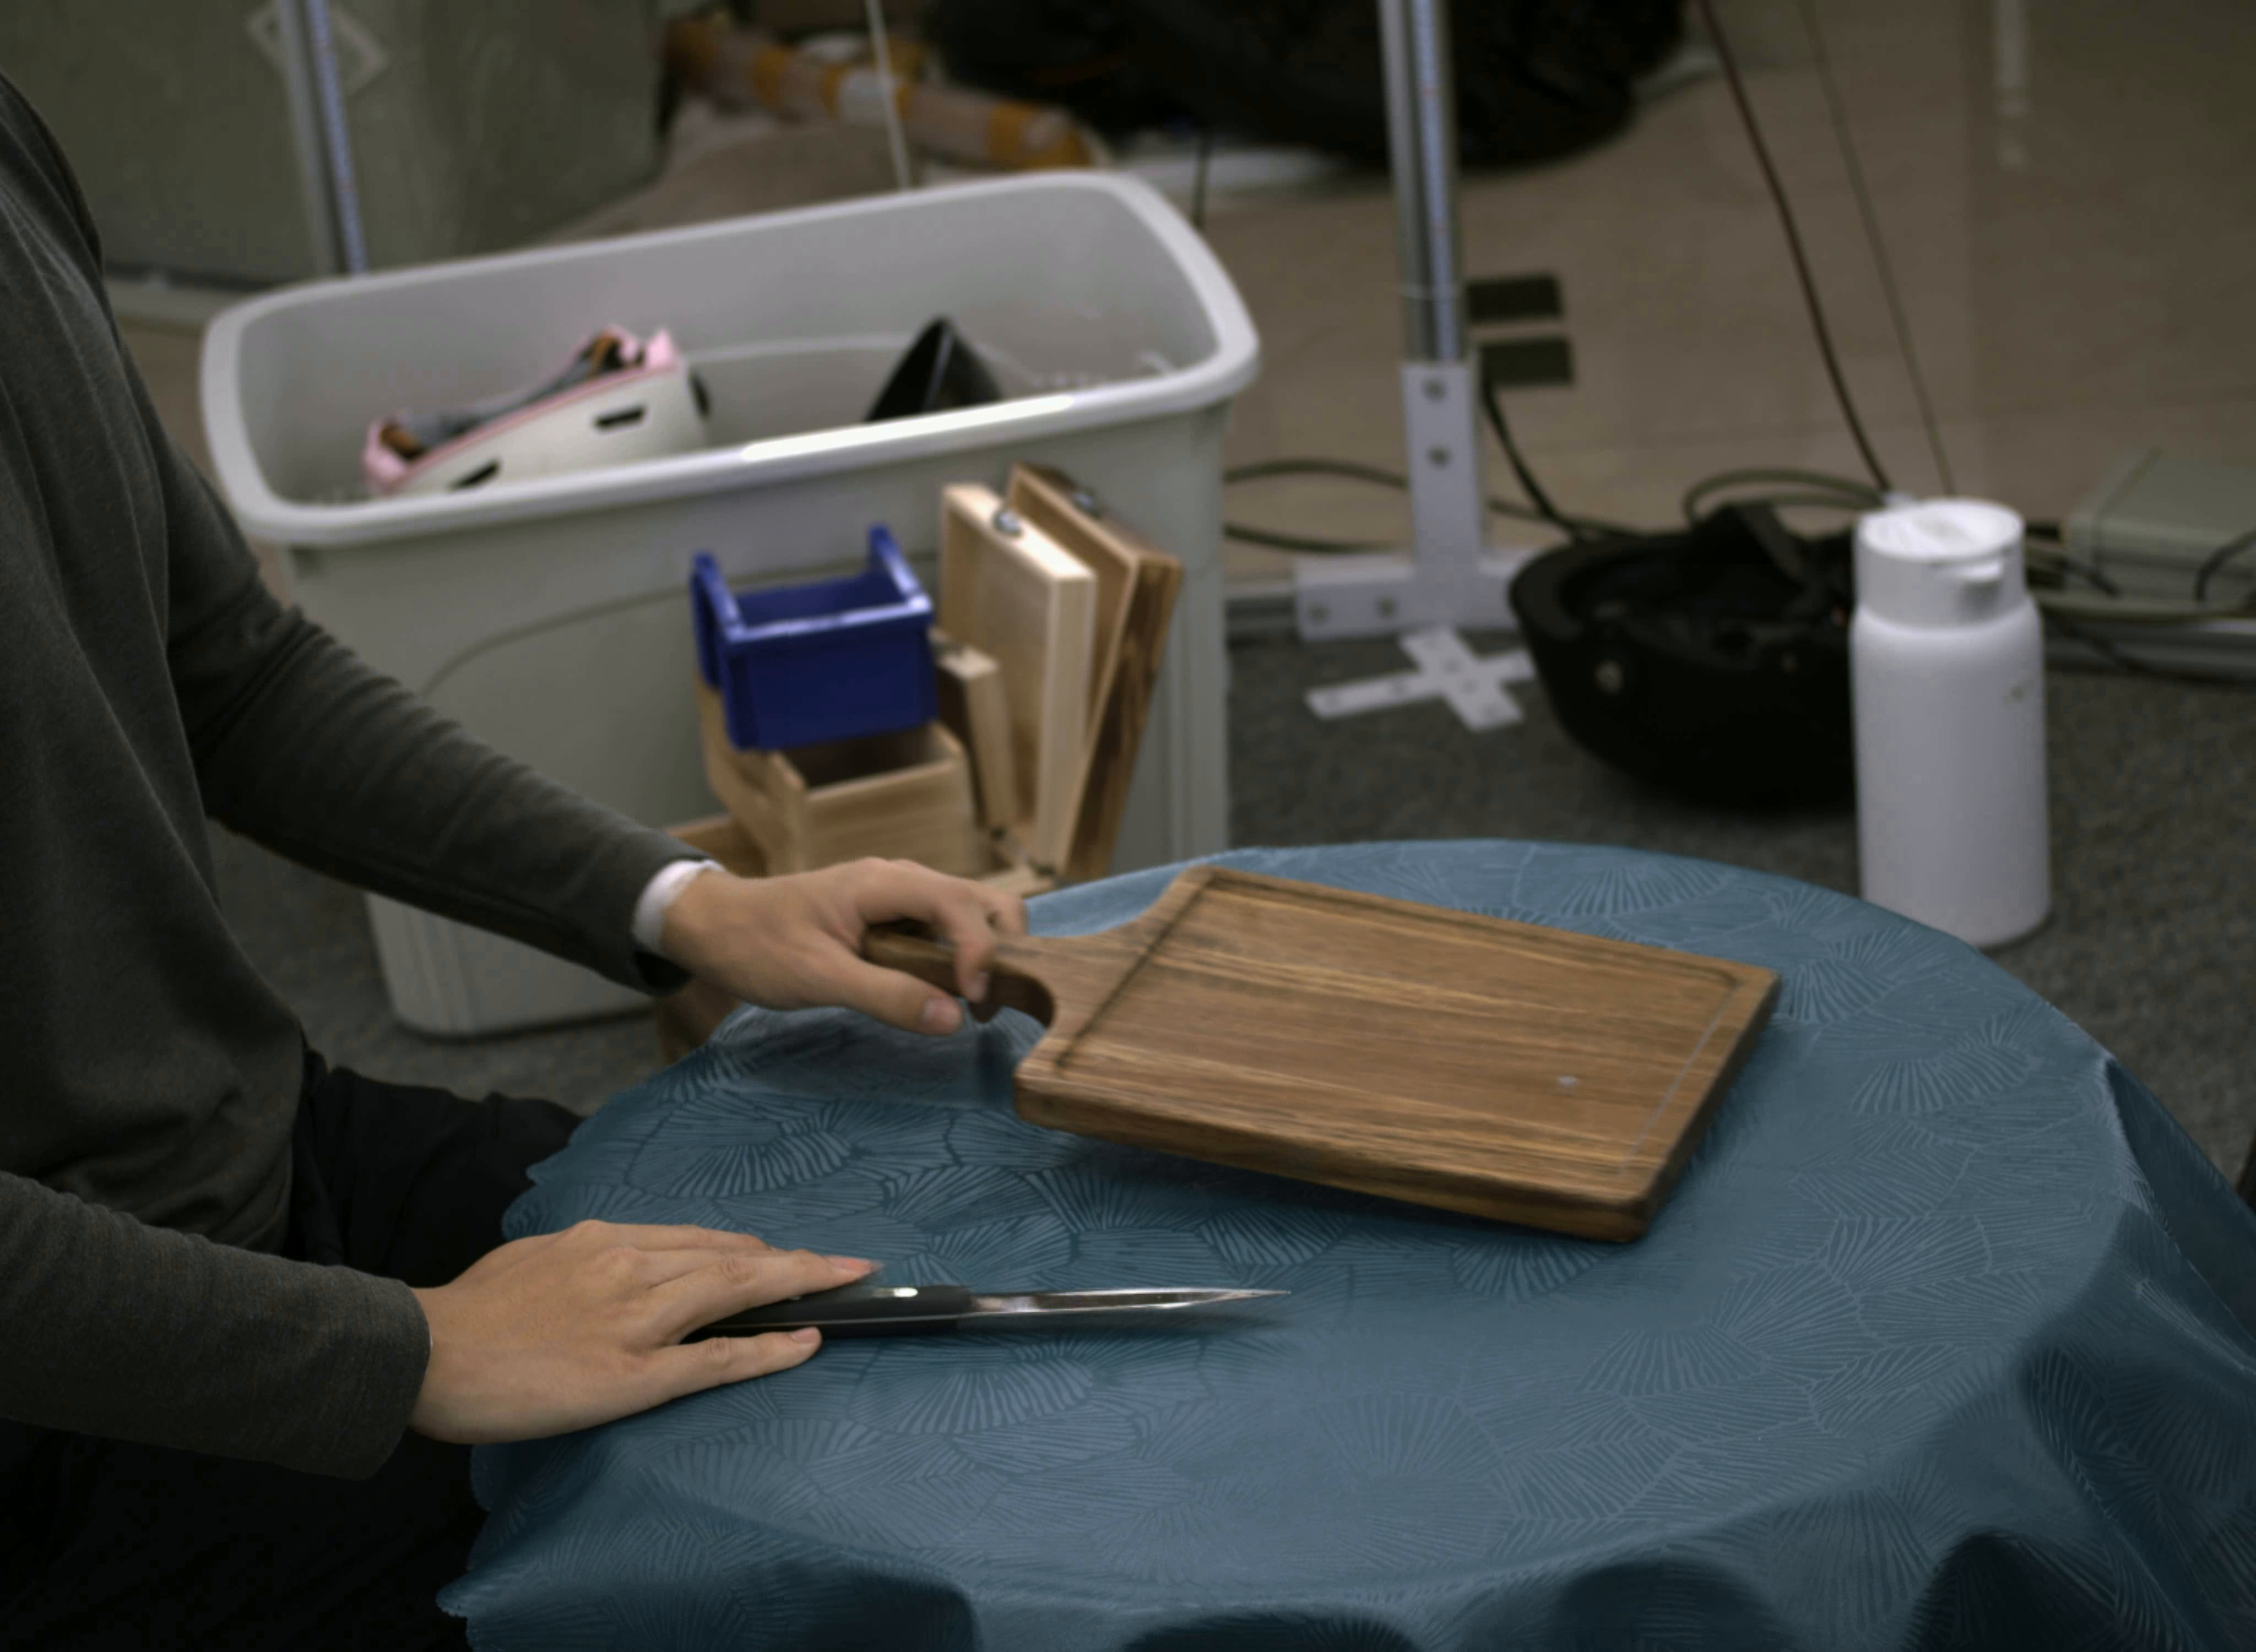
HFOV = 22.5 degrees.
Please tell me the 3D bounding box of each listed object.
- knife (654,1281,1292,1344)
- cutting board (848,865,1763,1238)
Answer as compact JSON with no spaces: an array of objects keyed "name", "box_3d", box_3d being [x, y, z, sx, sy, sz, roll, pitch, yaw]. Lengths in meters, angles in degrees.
[{"name":"knife","box_3d":[-0.058,0.175,2.068,0.238,0.016,0.024,-4,20,8]},{"name":"cutting board","box_3d":[0.055,0.075,2.202,0.351,0.023,0.198,10,29,18]}]
